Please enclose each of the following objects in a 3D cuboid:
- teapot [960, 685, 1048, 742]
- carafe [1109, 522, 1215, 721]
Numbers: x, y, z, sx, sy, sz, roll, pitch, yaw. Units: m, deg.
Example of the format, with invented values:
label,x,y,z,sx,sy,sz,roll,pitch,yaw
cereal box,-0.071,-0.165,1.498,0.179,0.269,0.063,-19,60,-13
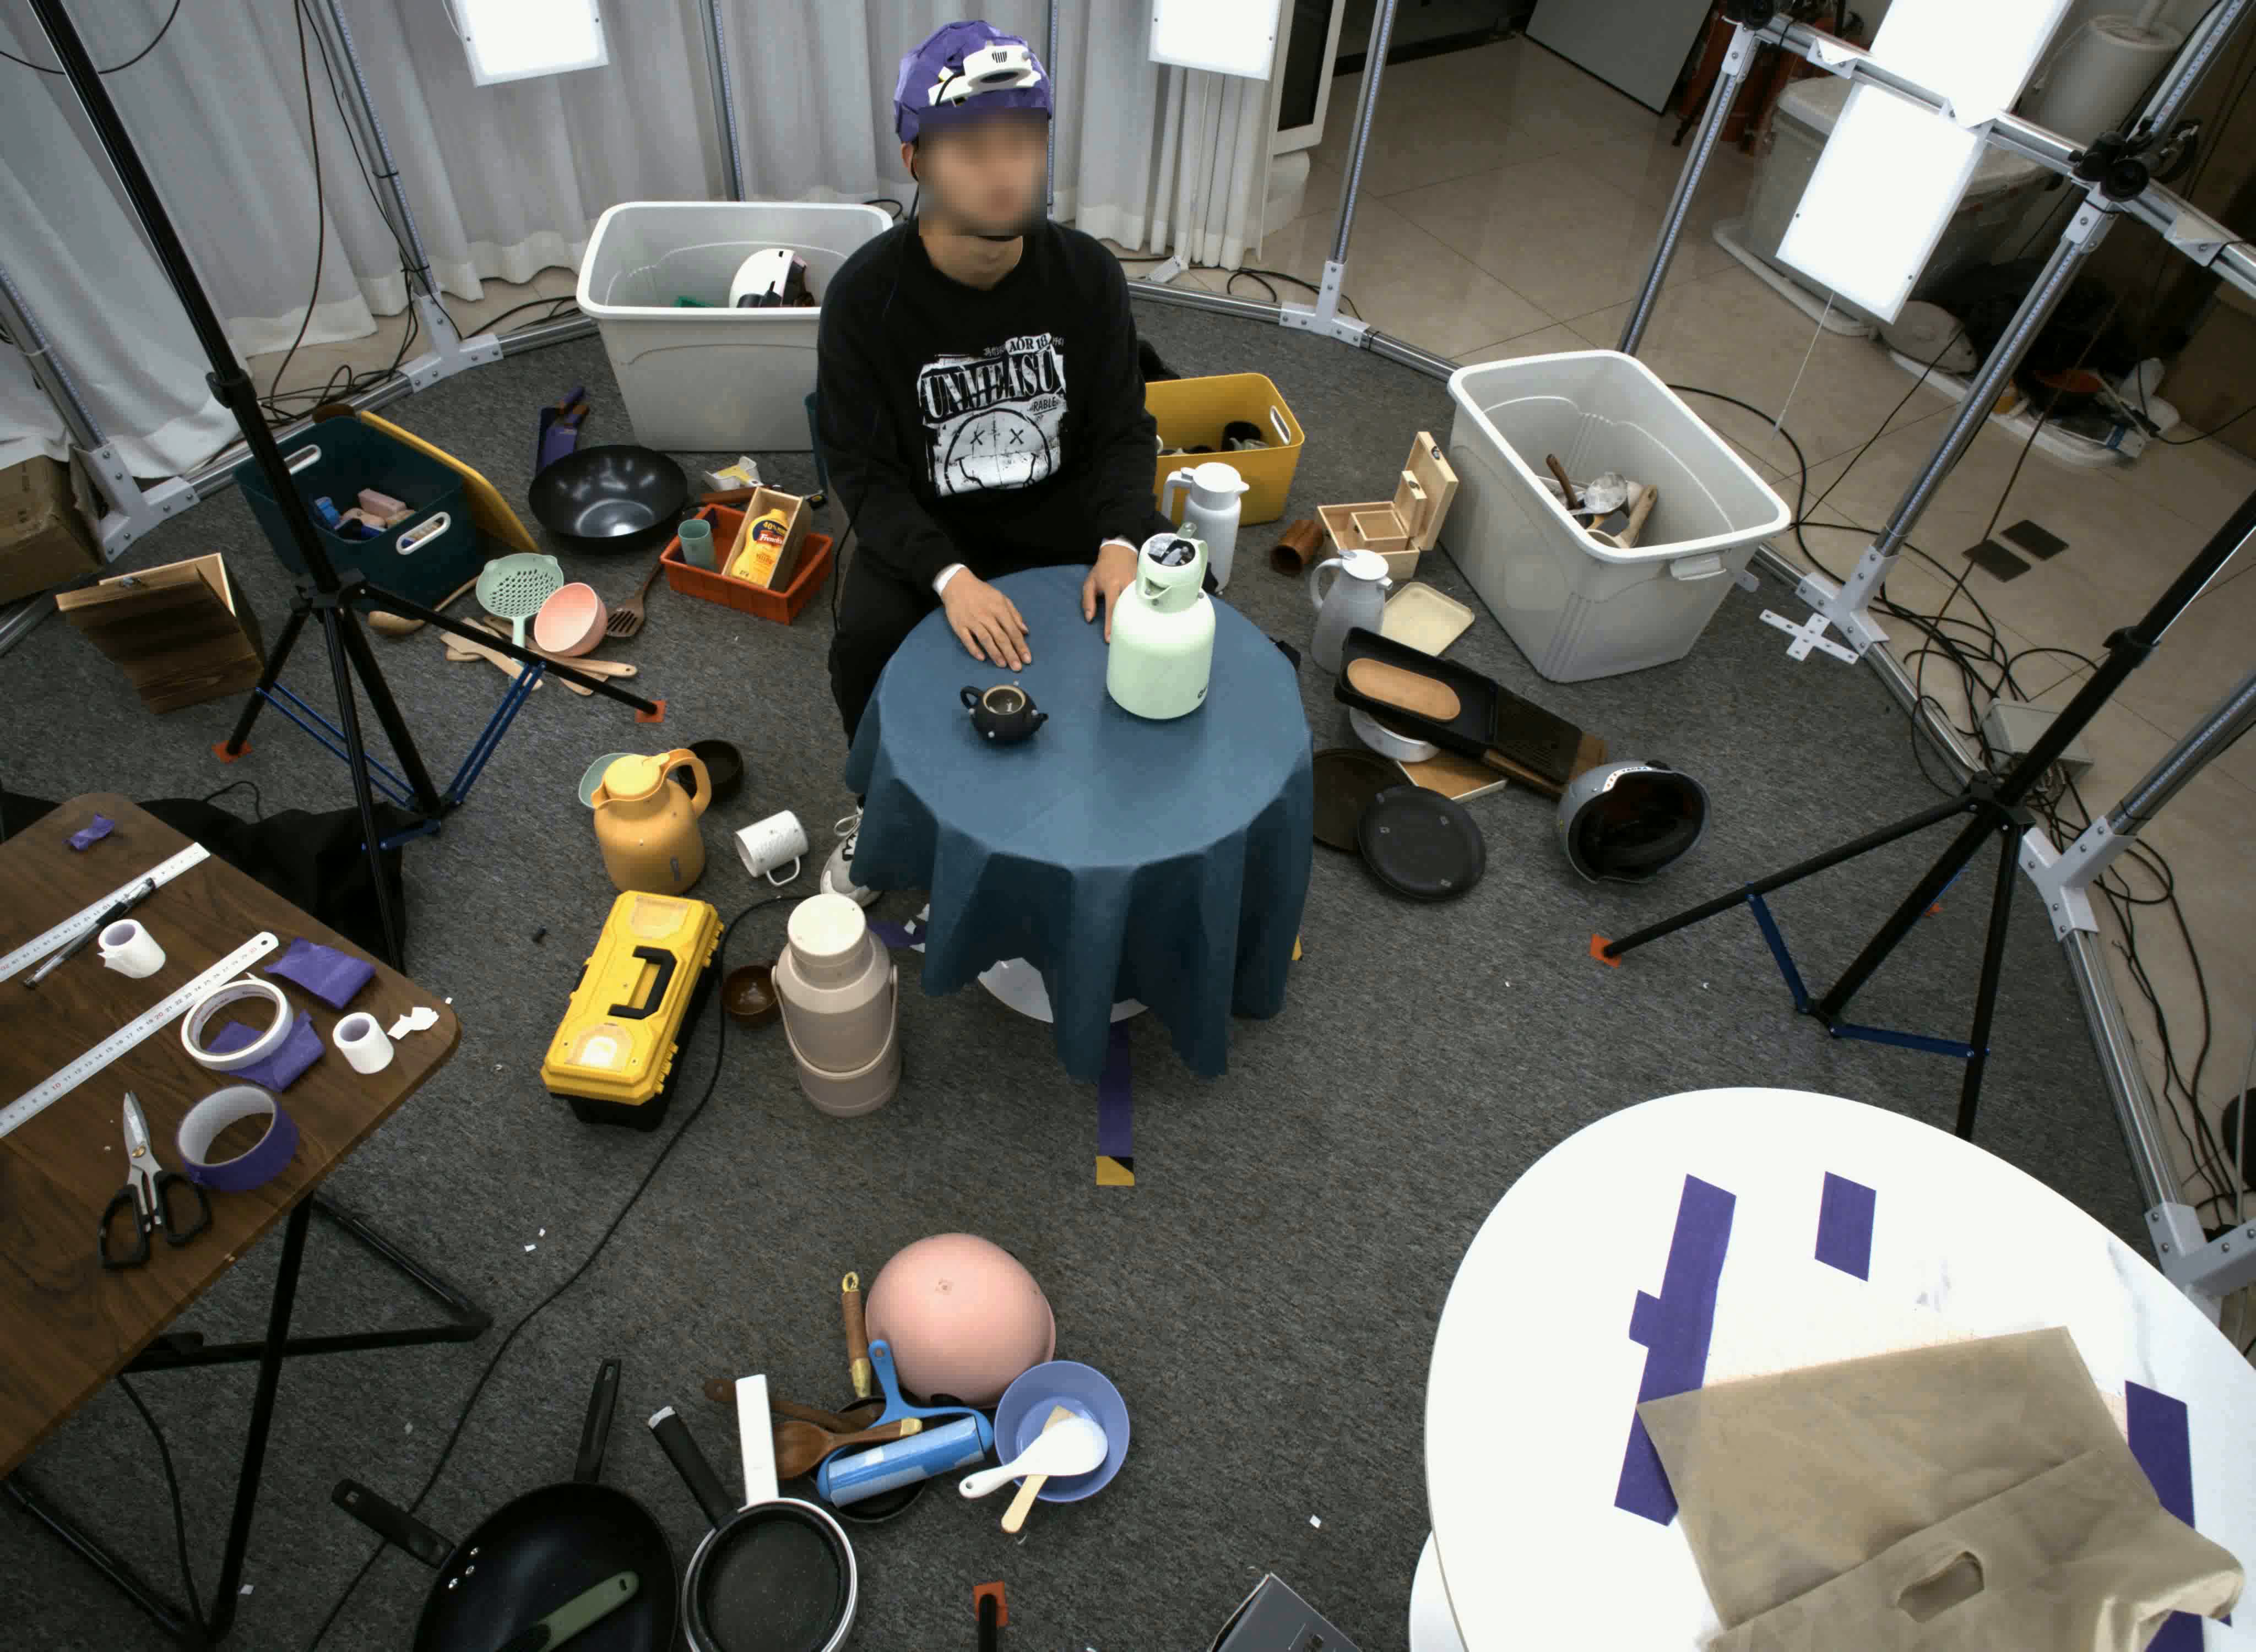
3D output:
label,x,y,z,sx,sy,sz,roll,pitch,yaw
teapot,-0.170,-0.155,1.759,0.134,0.052,0.092,21,49,14
carafe,0.055,-0.285,1.758,0.145,0.250,0.190,20,48,15
